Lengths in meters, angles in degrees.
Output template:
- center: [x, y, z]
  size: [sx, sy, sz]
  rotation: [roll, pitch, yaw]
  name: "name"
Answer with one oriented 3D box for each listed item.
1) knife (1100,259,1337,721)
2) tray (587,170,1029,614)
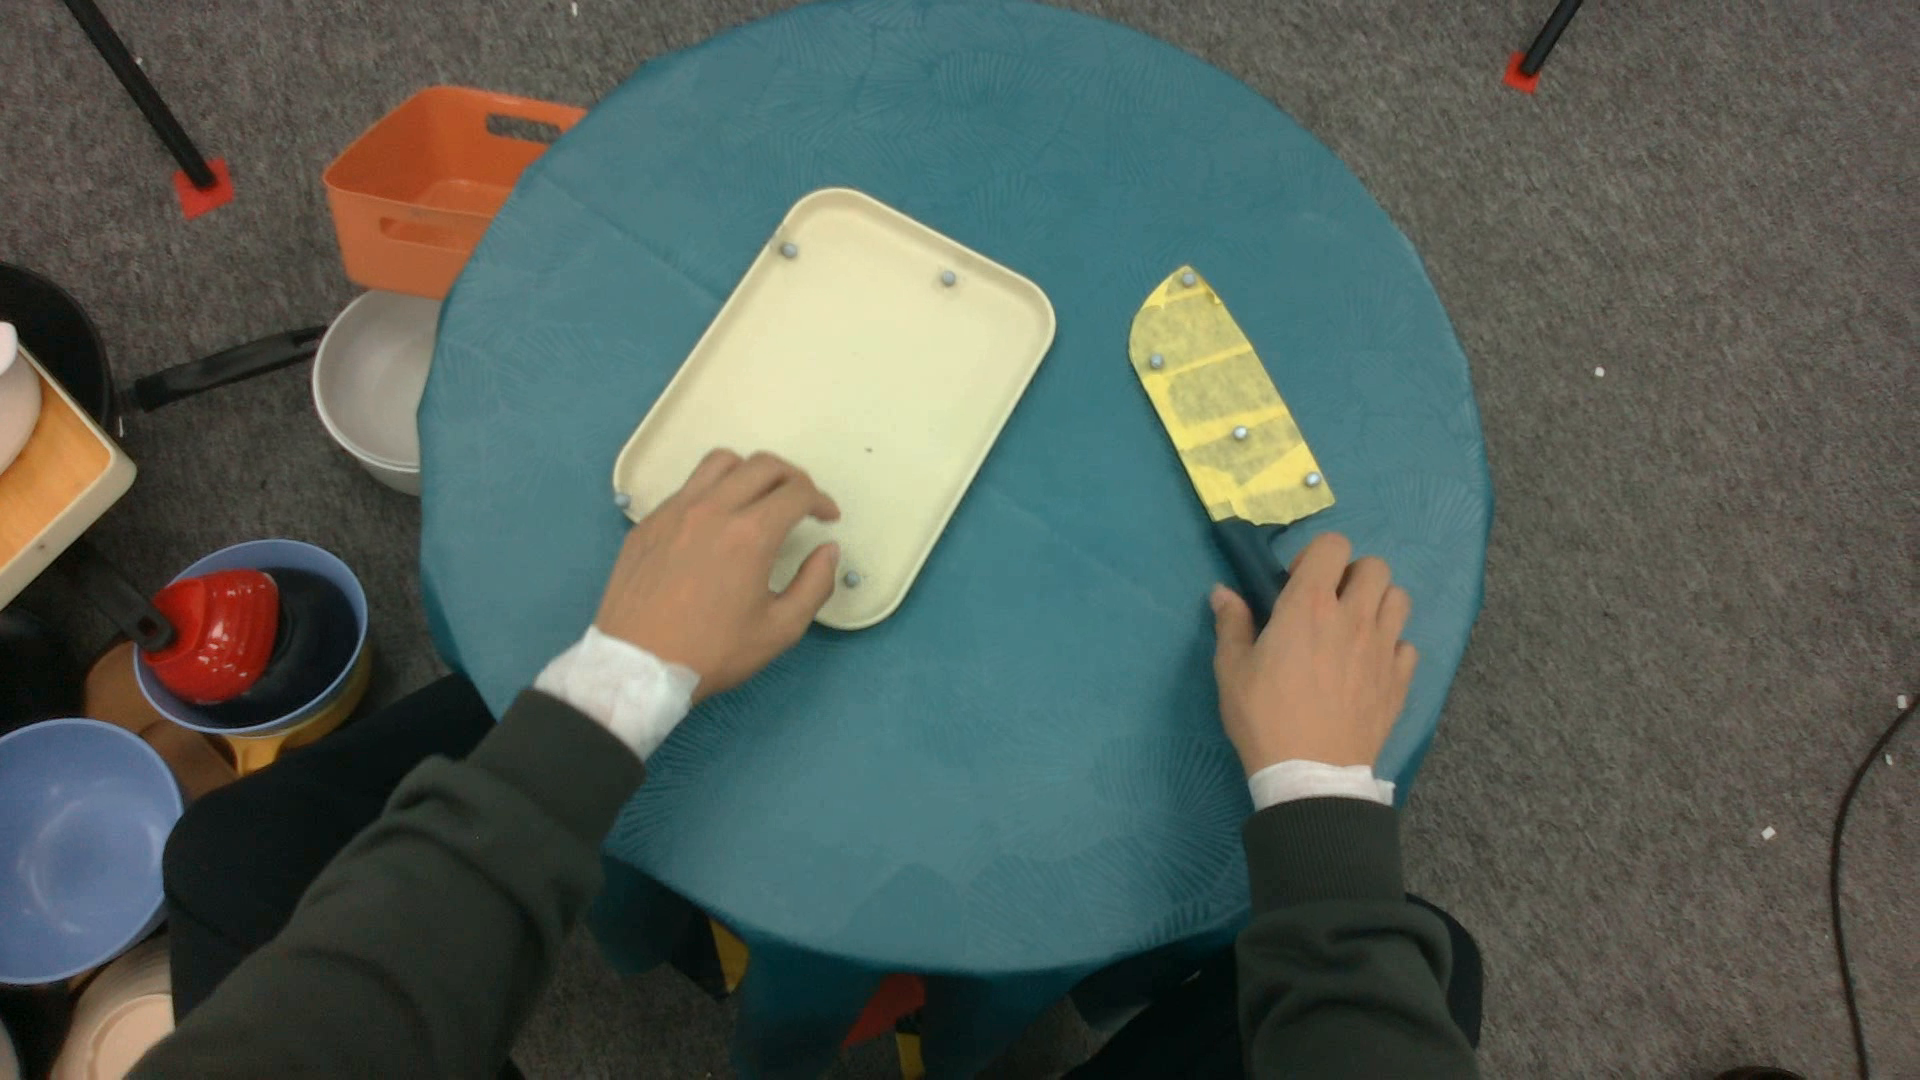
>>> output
- center: [0.153, -0.038, 0.775]
  size: [0.081, 0.027, 0.290]
  rotation: [-16, 72, -12]
  name: "knife"
- center: [-0.079, -0.086, 0.760]
  size: [0.171, 0.017, 0.240]
  rotation: [28, 69, 3]
  name: "tray"
